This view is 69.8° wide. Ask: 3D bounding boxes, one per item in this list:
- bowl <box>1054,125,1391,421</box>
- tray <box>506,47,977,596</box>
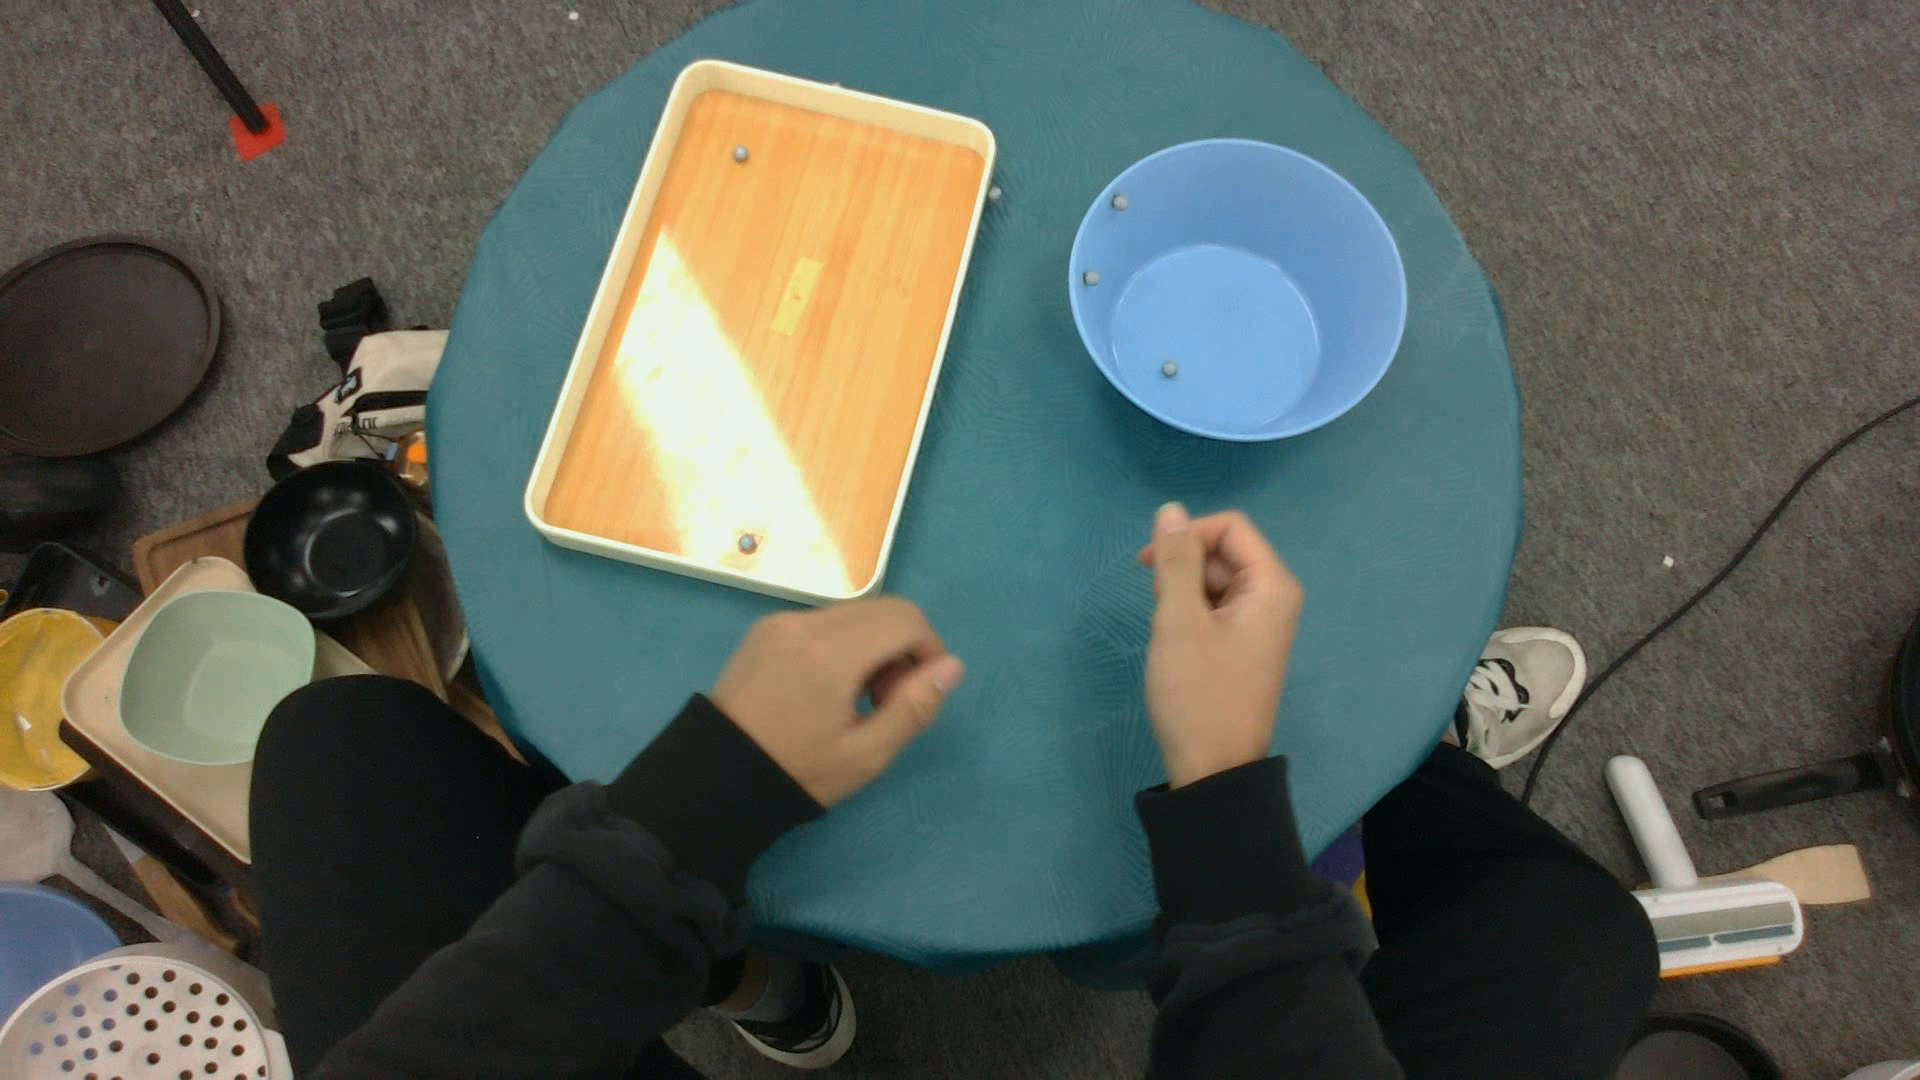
[{"bbox_3d":[0.136,-0.132,0.746,0.176,0.070,0.176,0,70,-1],"label":"bowl"},{"bbox_3d":[-0.112,-0.128,0.758,0.191,0.027,0.301,13,71,2],"label":"tray"}]
